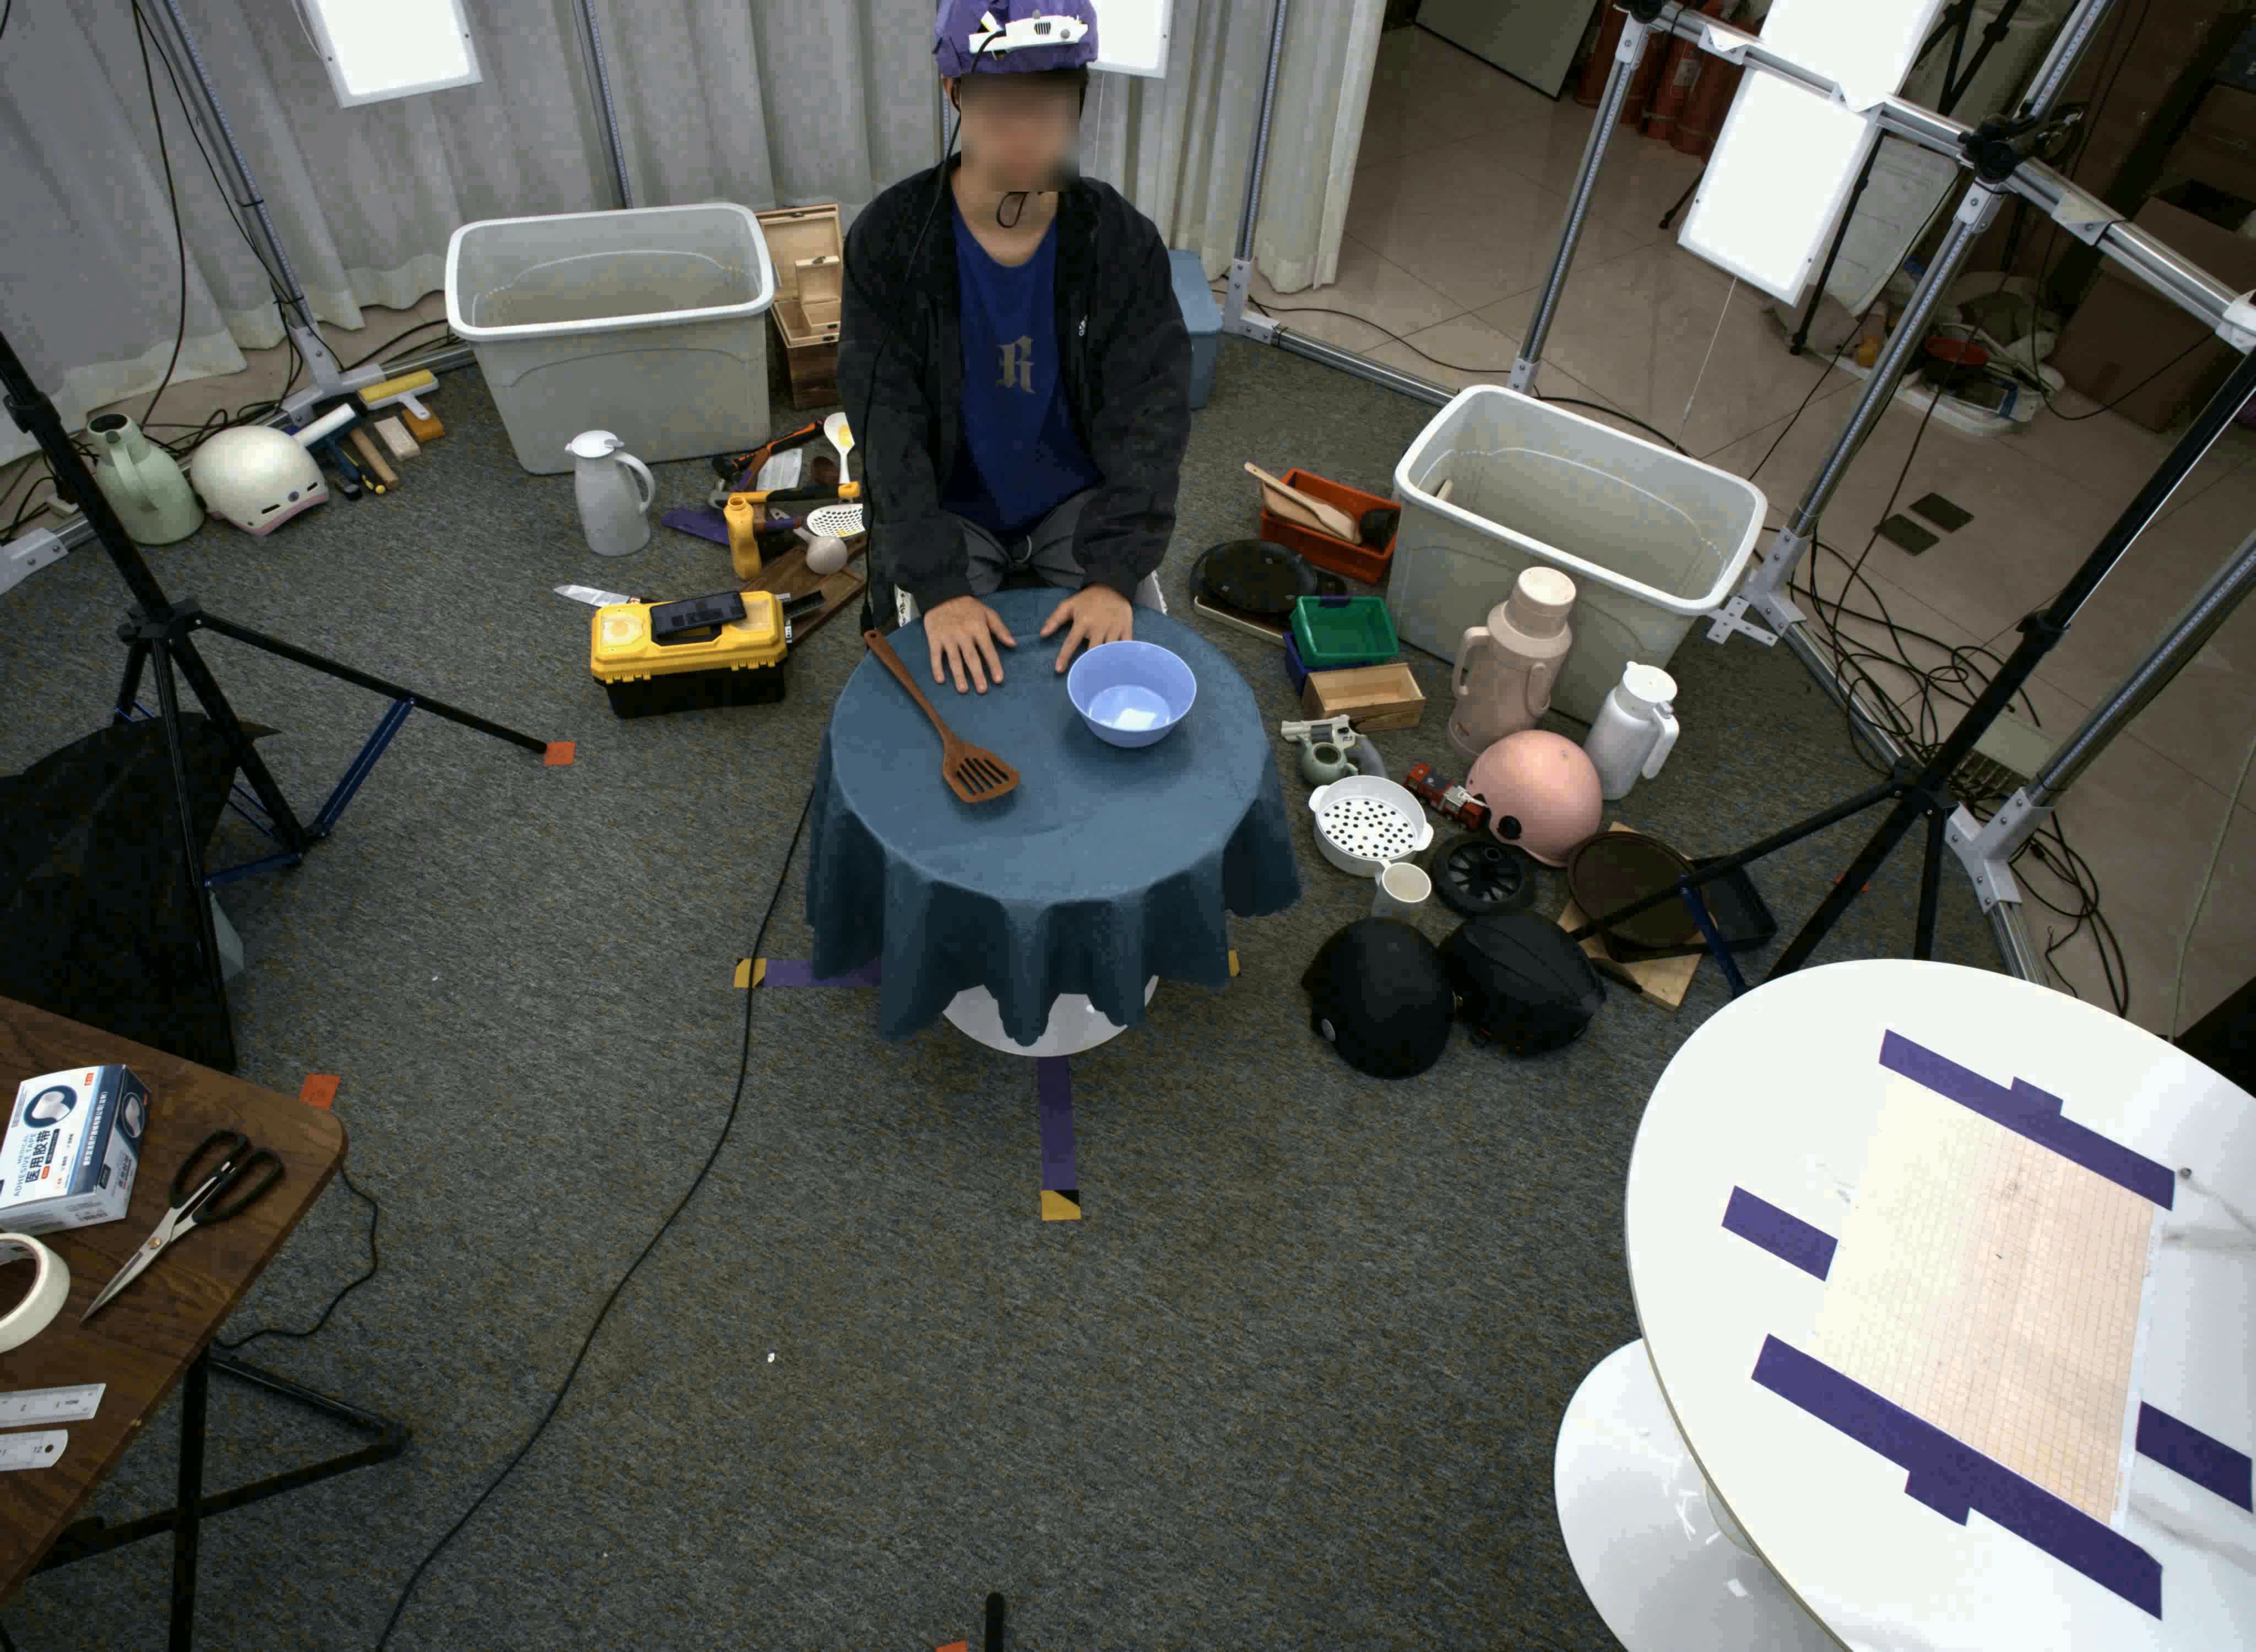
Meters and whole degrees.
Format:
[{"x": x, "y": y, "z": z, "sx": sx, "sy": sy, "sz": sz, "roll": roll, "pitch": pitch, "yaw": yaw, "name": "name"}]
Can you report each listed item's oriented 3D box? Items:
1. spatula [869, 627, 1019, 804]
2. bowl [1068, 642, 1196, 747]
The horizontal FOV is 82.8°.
[{"x": -0.272, "y": -0.159, "z": 1.781, "sx": 0.086, "sy": 0.023, "sz": 0.395, "roll": -23, "pitch": 53, "yaw": -22, "name": "spatula"}, {"x": 0.004, "y": -0.173, "z": 1.777, "sx": 0.176, "sy": 0.068, "sz": 0.180, "roll": 2, "pitch": 48, "yaw": -2, "name": "bowl"}]
